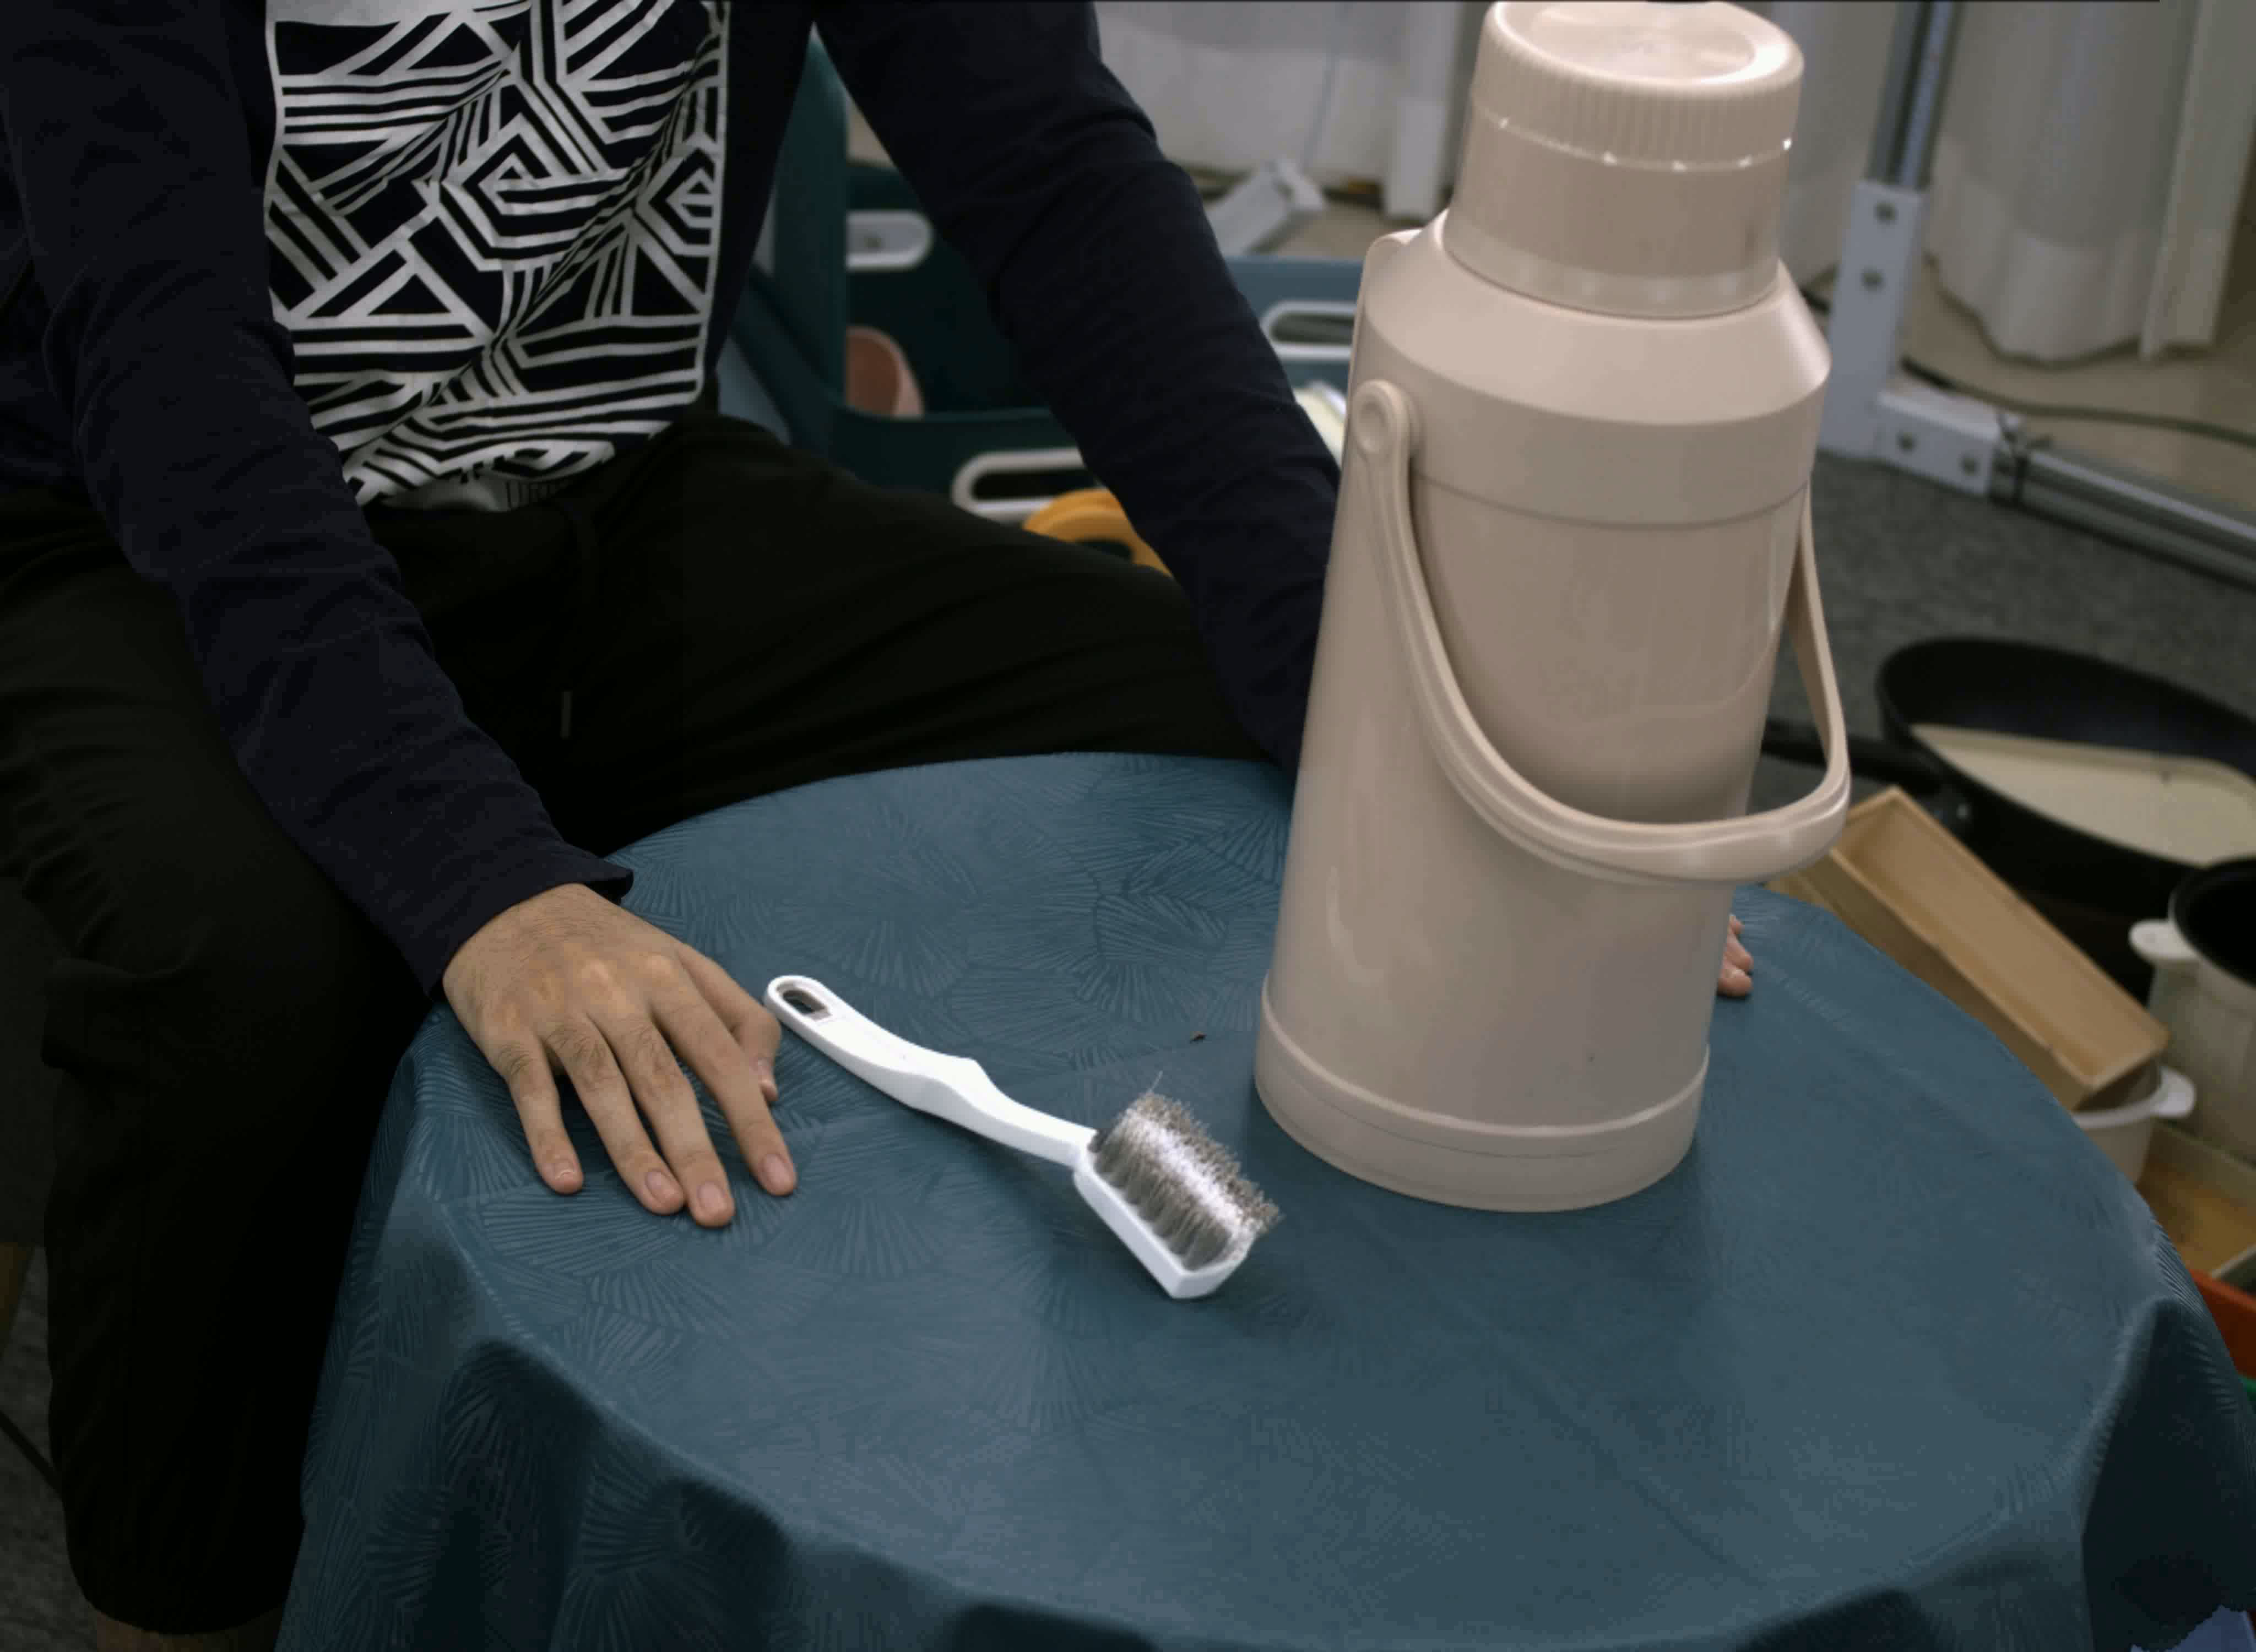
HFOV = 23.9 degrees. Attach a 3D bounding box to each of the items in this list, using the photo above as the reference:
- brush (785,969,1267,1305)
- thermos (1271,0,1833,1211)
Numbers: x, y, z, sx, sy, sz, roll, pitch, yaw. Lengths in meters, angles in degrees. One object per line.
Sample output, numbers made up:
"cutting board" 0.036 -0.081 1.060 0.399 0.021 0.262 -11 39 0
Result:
"brush" -0.040 0.089 1.813 0.034 0.050 0.246 -19 37 -34
"thermos" 0.140 -0.086 1.812 0.174 0.405 0.209 -13 32 -30
